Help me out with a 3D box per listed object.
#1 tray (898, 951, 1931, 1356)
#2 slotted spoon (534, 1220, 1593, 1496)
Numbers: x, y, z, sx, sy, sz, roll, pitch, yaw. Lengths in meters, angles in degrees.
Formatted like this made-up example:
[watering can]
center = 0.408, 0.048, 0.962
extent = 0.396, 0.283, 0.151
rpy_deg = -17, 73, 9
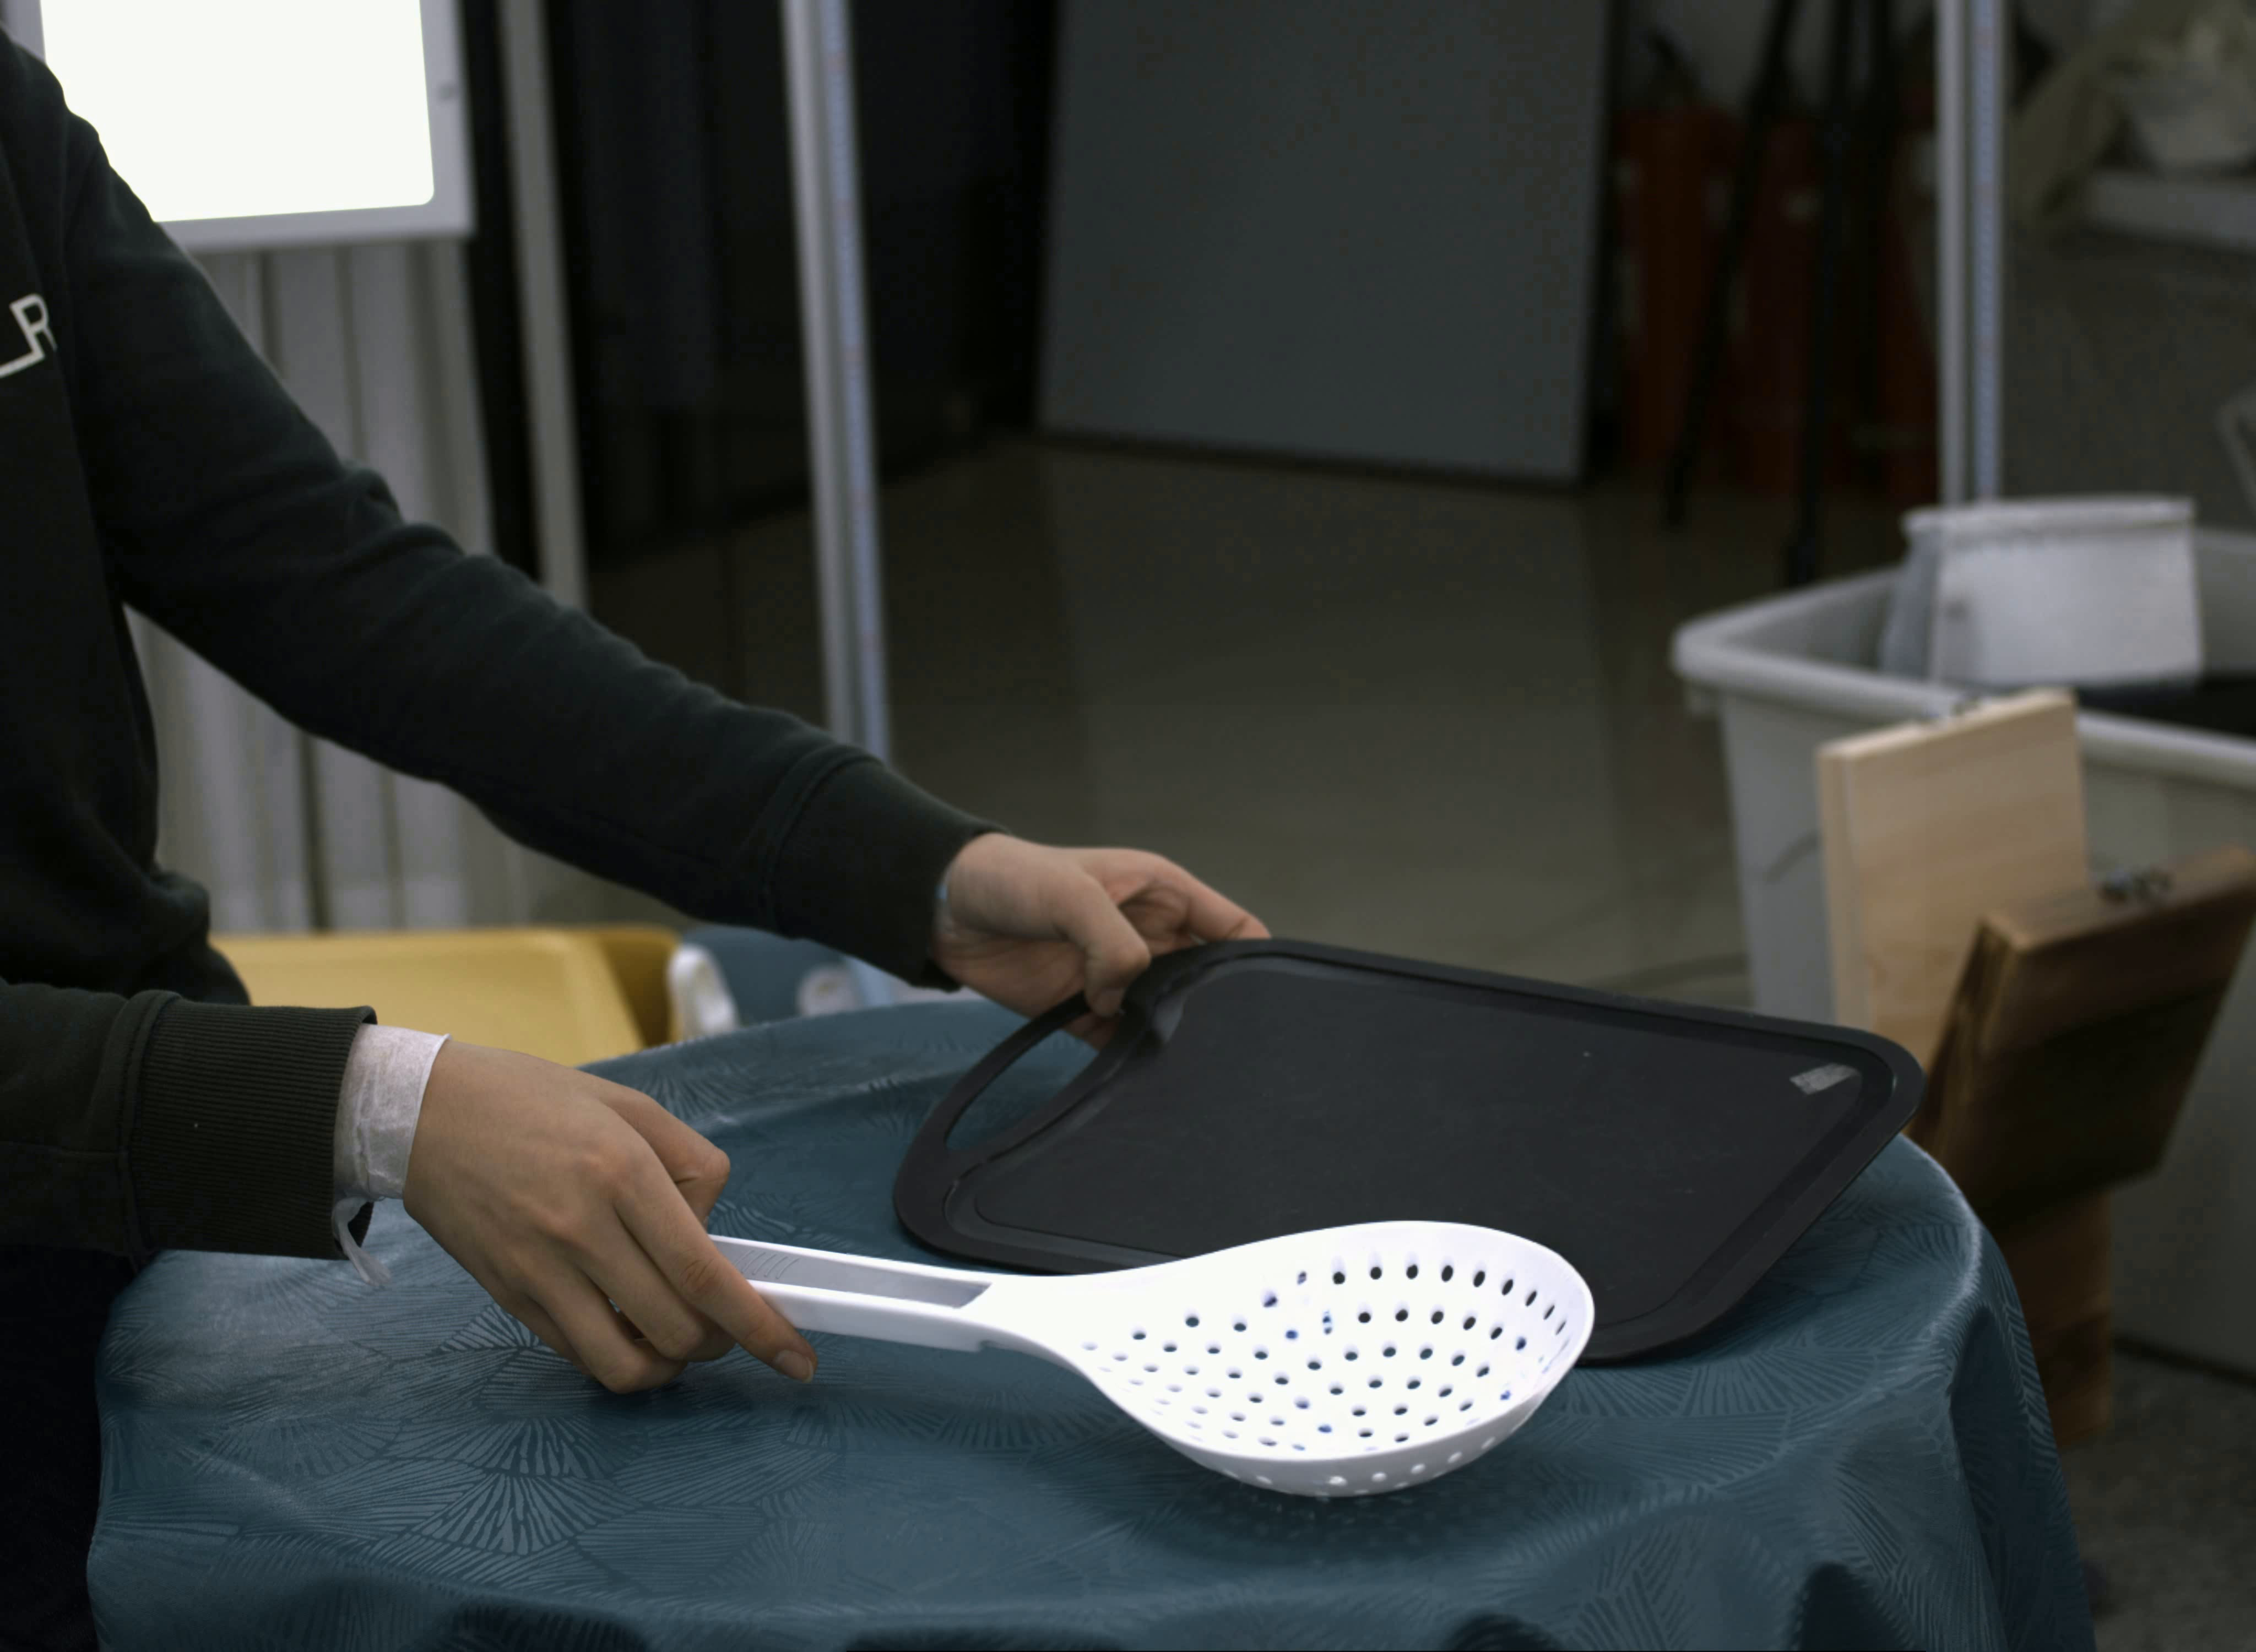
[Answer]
[tray]
center = 0.082, 0.099, 1.727
extent = 0.327, 0.010, 0.208
rpy_deg = 6, 30, 36
[slotted spoon]
center = -0.027, 0.142, 1.561
extent = 0.351, 0.046, 0.134
rpy_deg = 9, 27, 30
